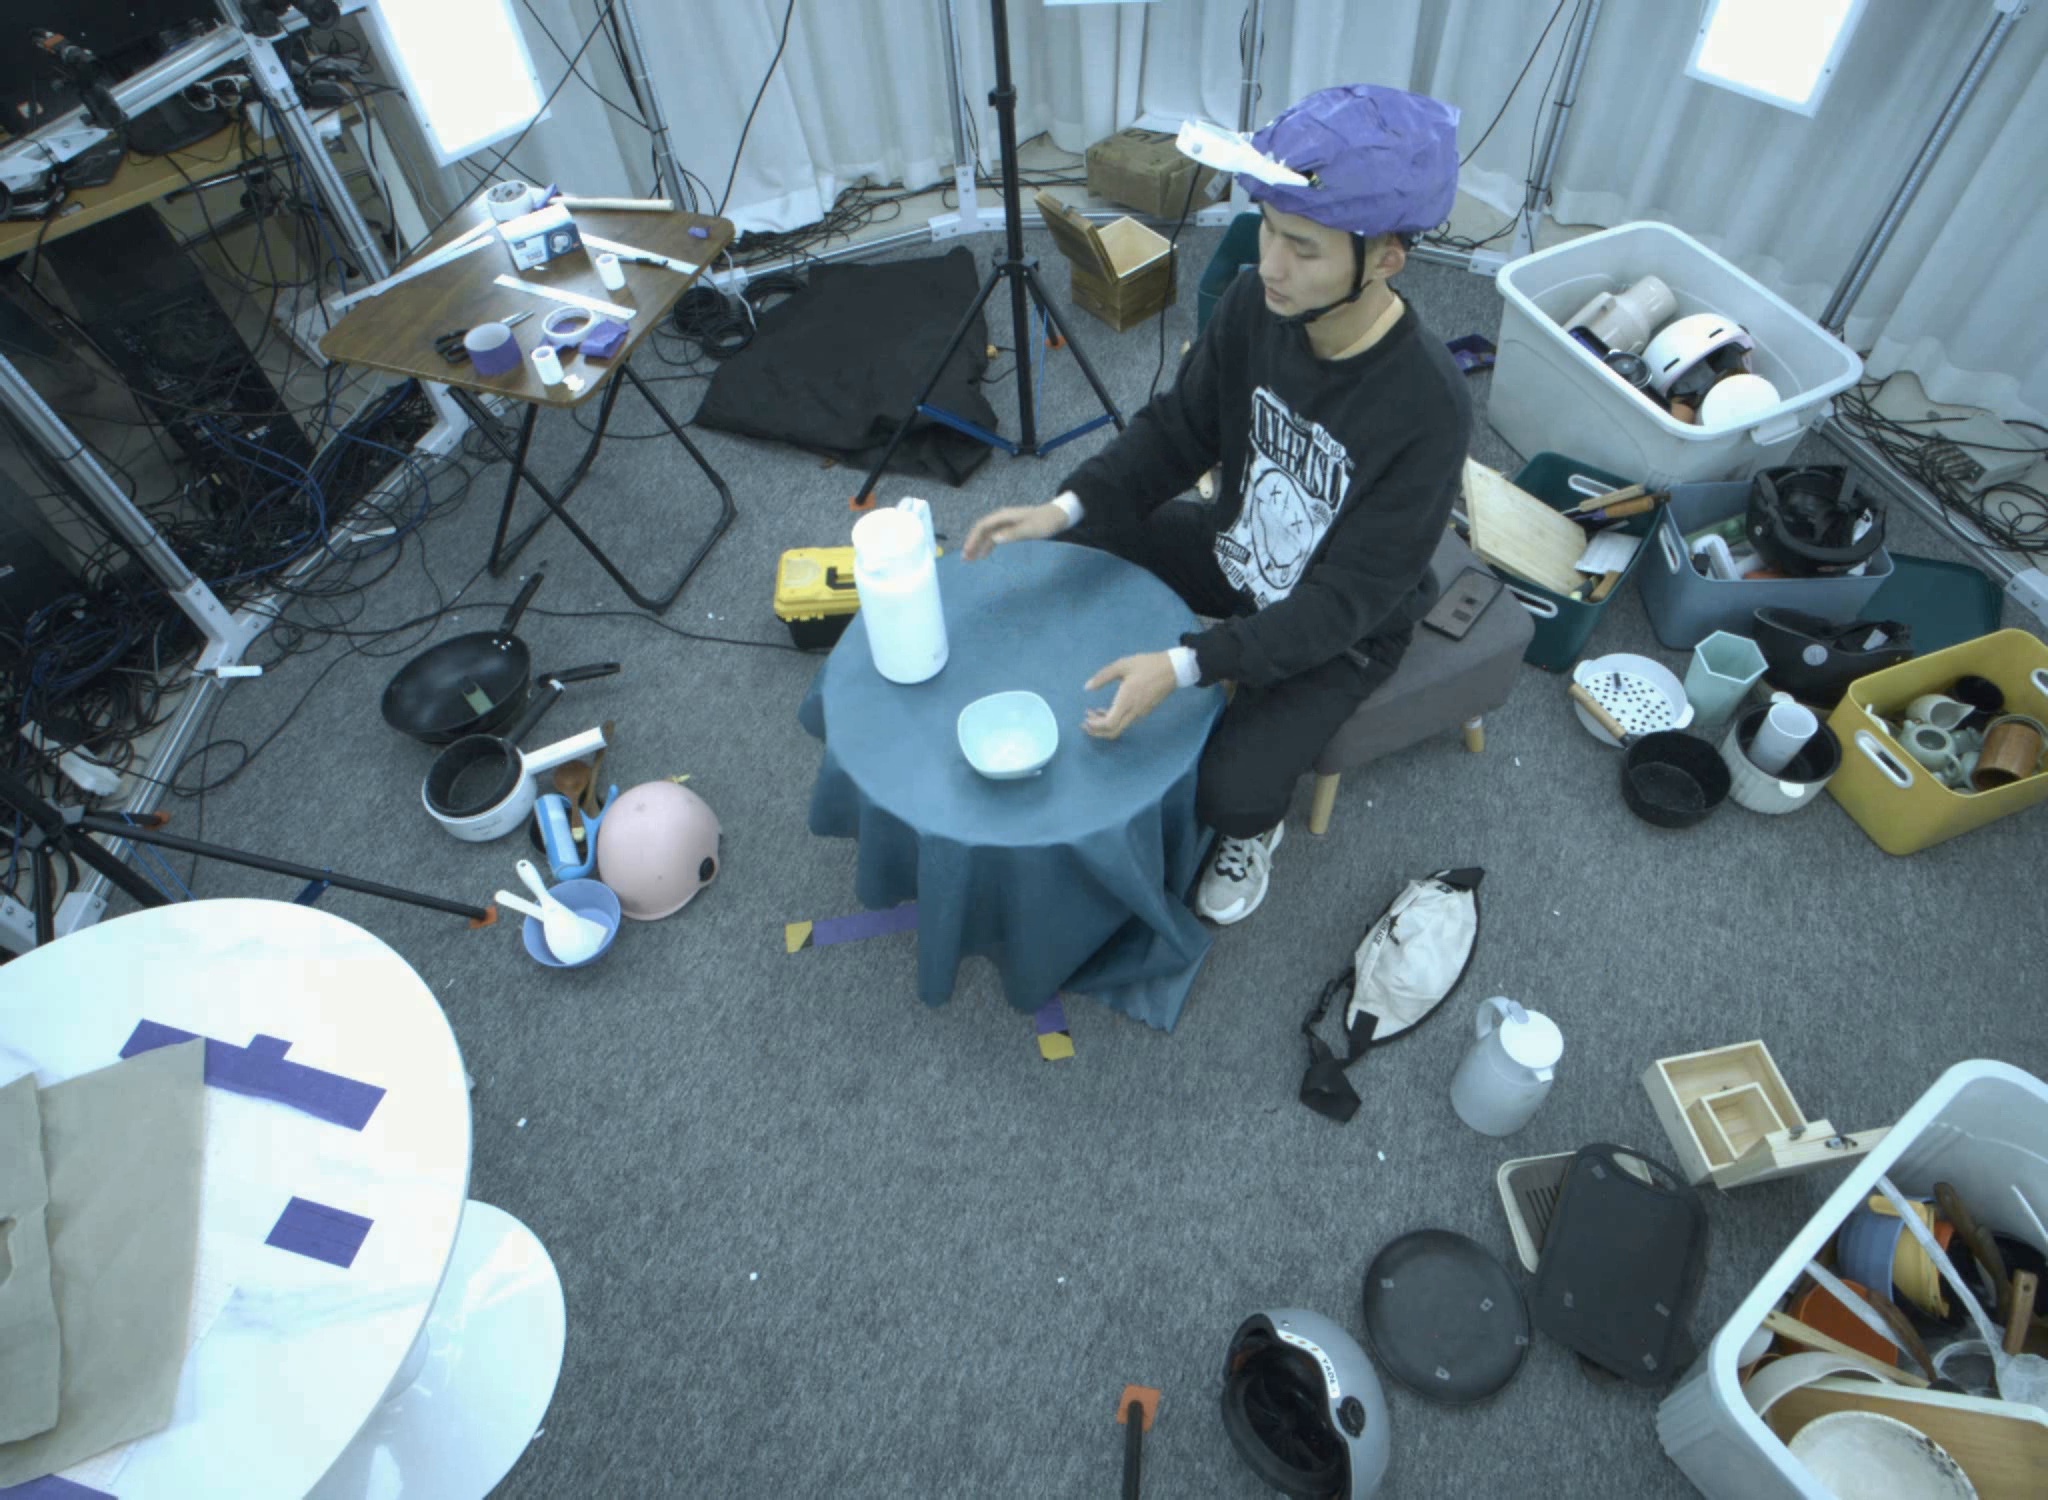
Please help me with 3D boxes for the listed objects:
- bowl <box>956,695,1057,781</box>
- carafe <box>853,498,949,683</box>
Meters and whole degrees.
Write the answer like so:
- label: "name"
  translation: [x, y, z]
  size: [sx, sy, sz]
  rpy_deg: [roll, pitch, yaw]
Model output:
- label: "bowl"
  translation: [-0.026, -0.008, 1.765]
  size: [0.152, 0.059, 0.150]
  rpy_deg: [3, 51, -3]
- label: "carafe"
  translation: [-0.177, -0.236, 1.792]
  size: [0.122, 0.272, 0.172]
  rpy_deg: [13, 56, 15]
